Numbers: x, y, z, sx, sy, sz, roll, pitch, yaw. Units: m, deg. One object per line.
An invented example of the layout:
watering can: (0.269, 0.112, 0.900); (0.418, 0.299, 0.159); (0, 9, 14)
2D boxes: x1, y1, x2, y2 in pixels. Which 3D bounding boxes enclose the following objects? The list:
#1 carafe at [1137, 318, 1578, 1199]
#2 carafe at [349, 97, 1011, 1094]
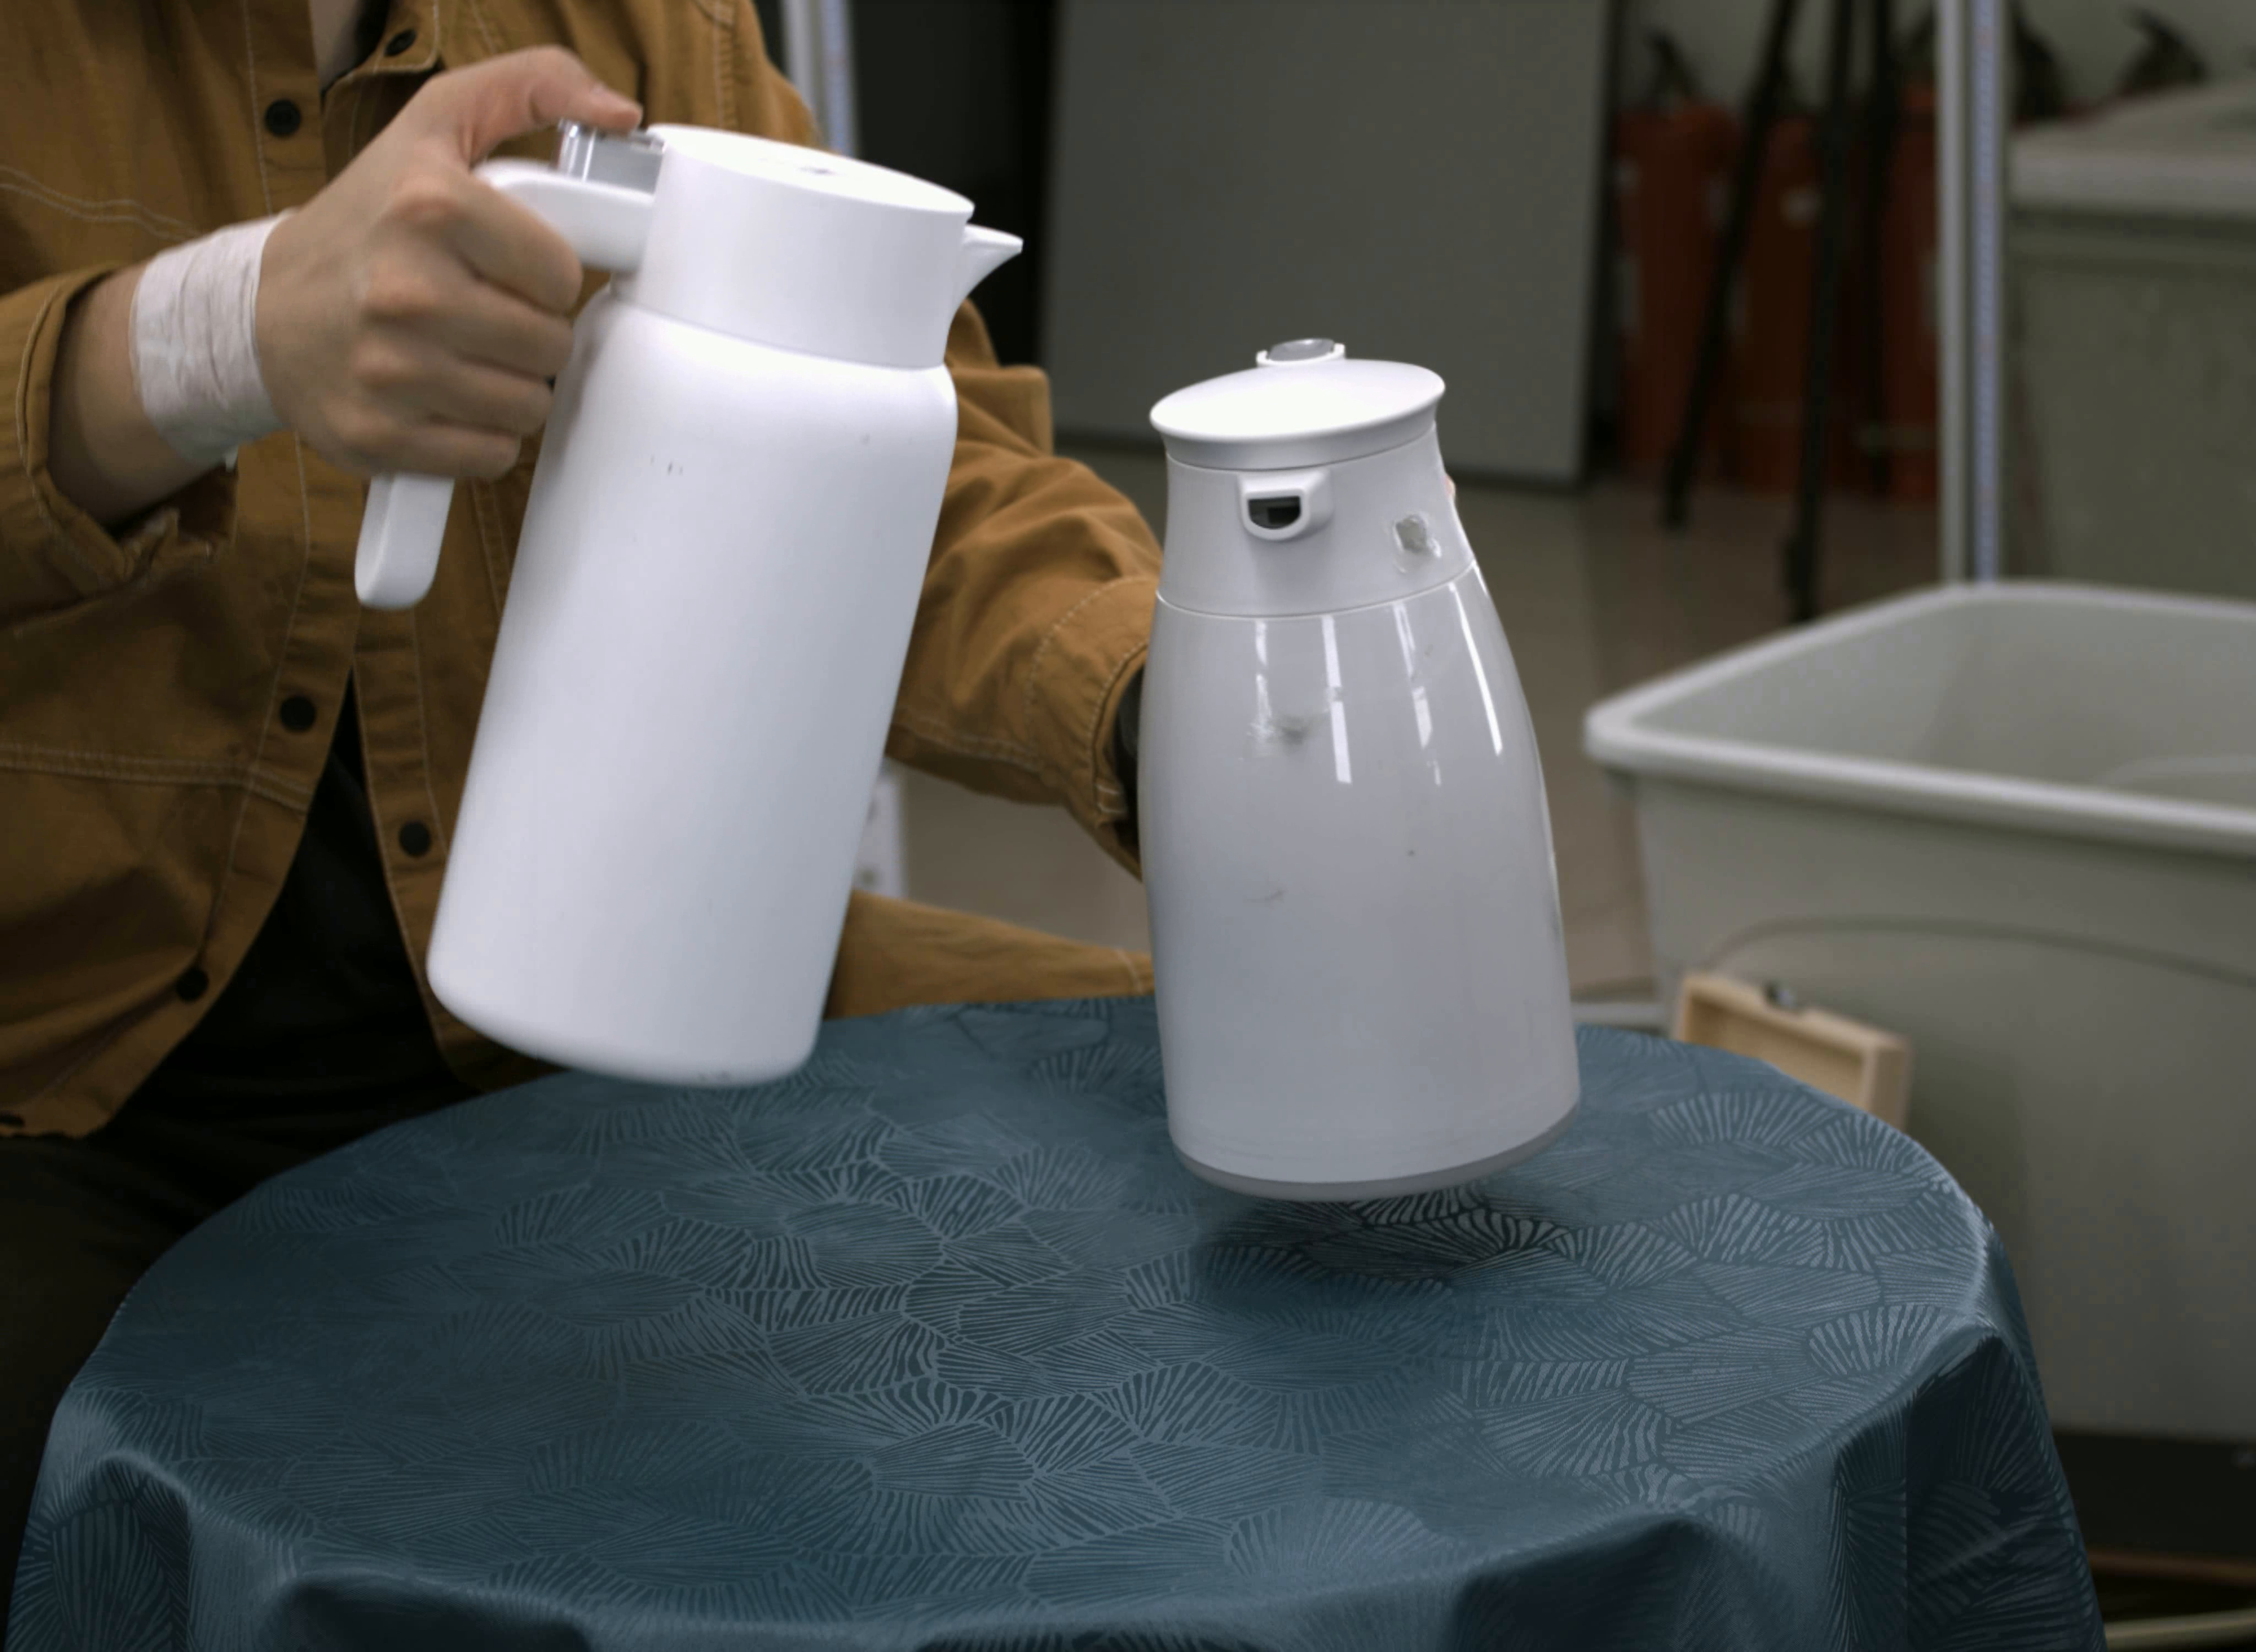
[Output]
carafe: (0.066, -0.030, 1.693); (0.131, 0.251, 0.167); (-4, 16, 11)
carafe: (-0.137, -0.067, 1.557); (0.169, 0.272, 0.125); (8, 14, -21)
